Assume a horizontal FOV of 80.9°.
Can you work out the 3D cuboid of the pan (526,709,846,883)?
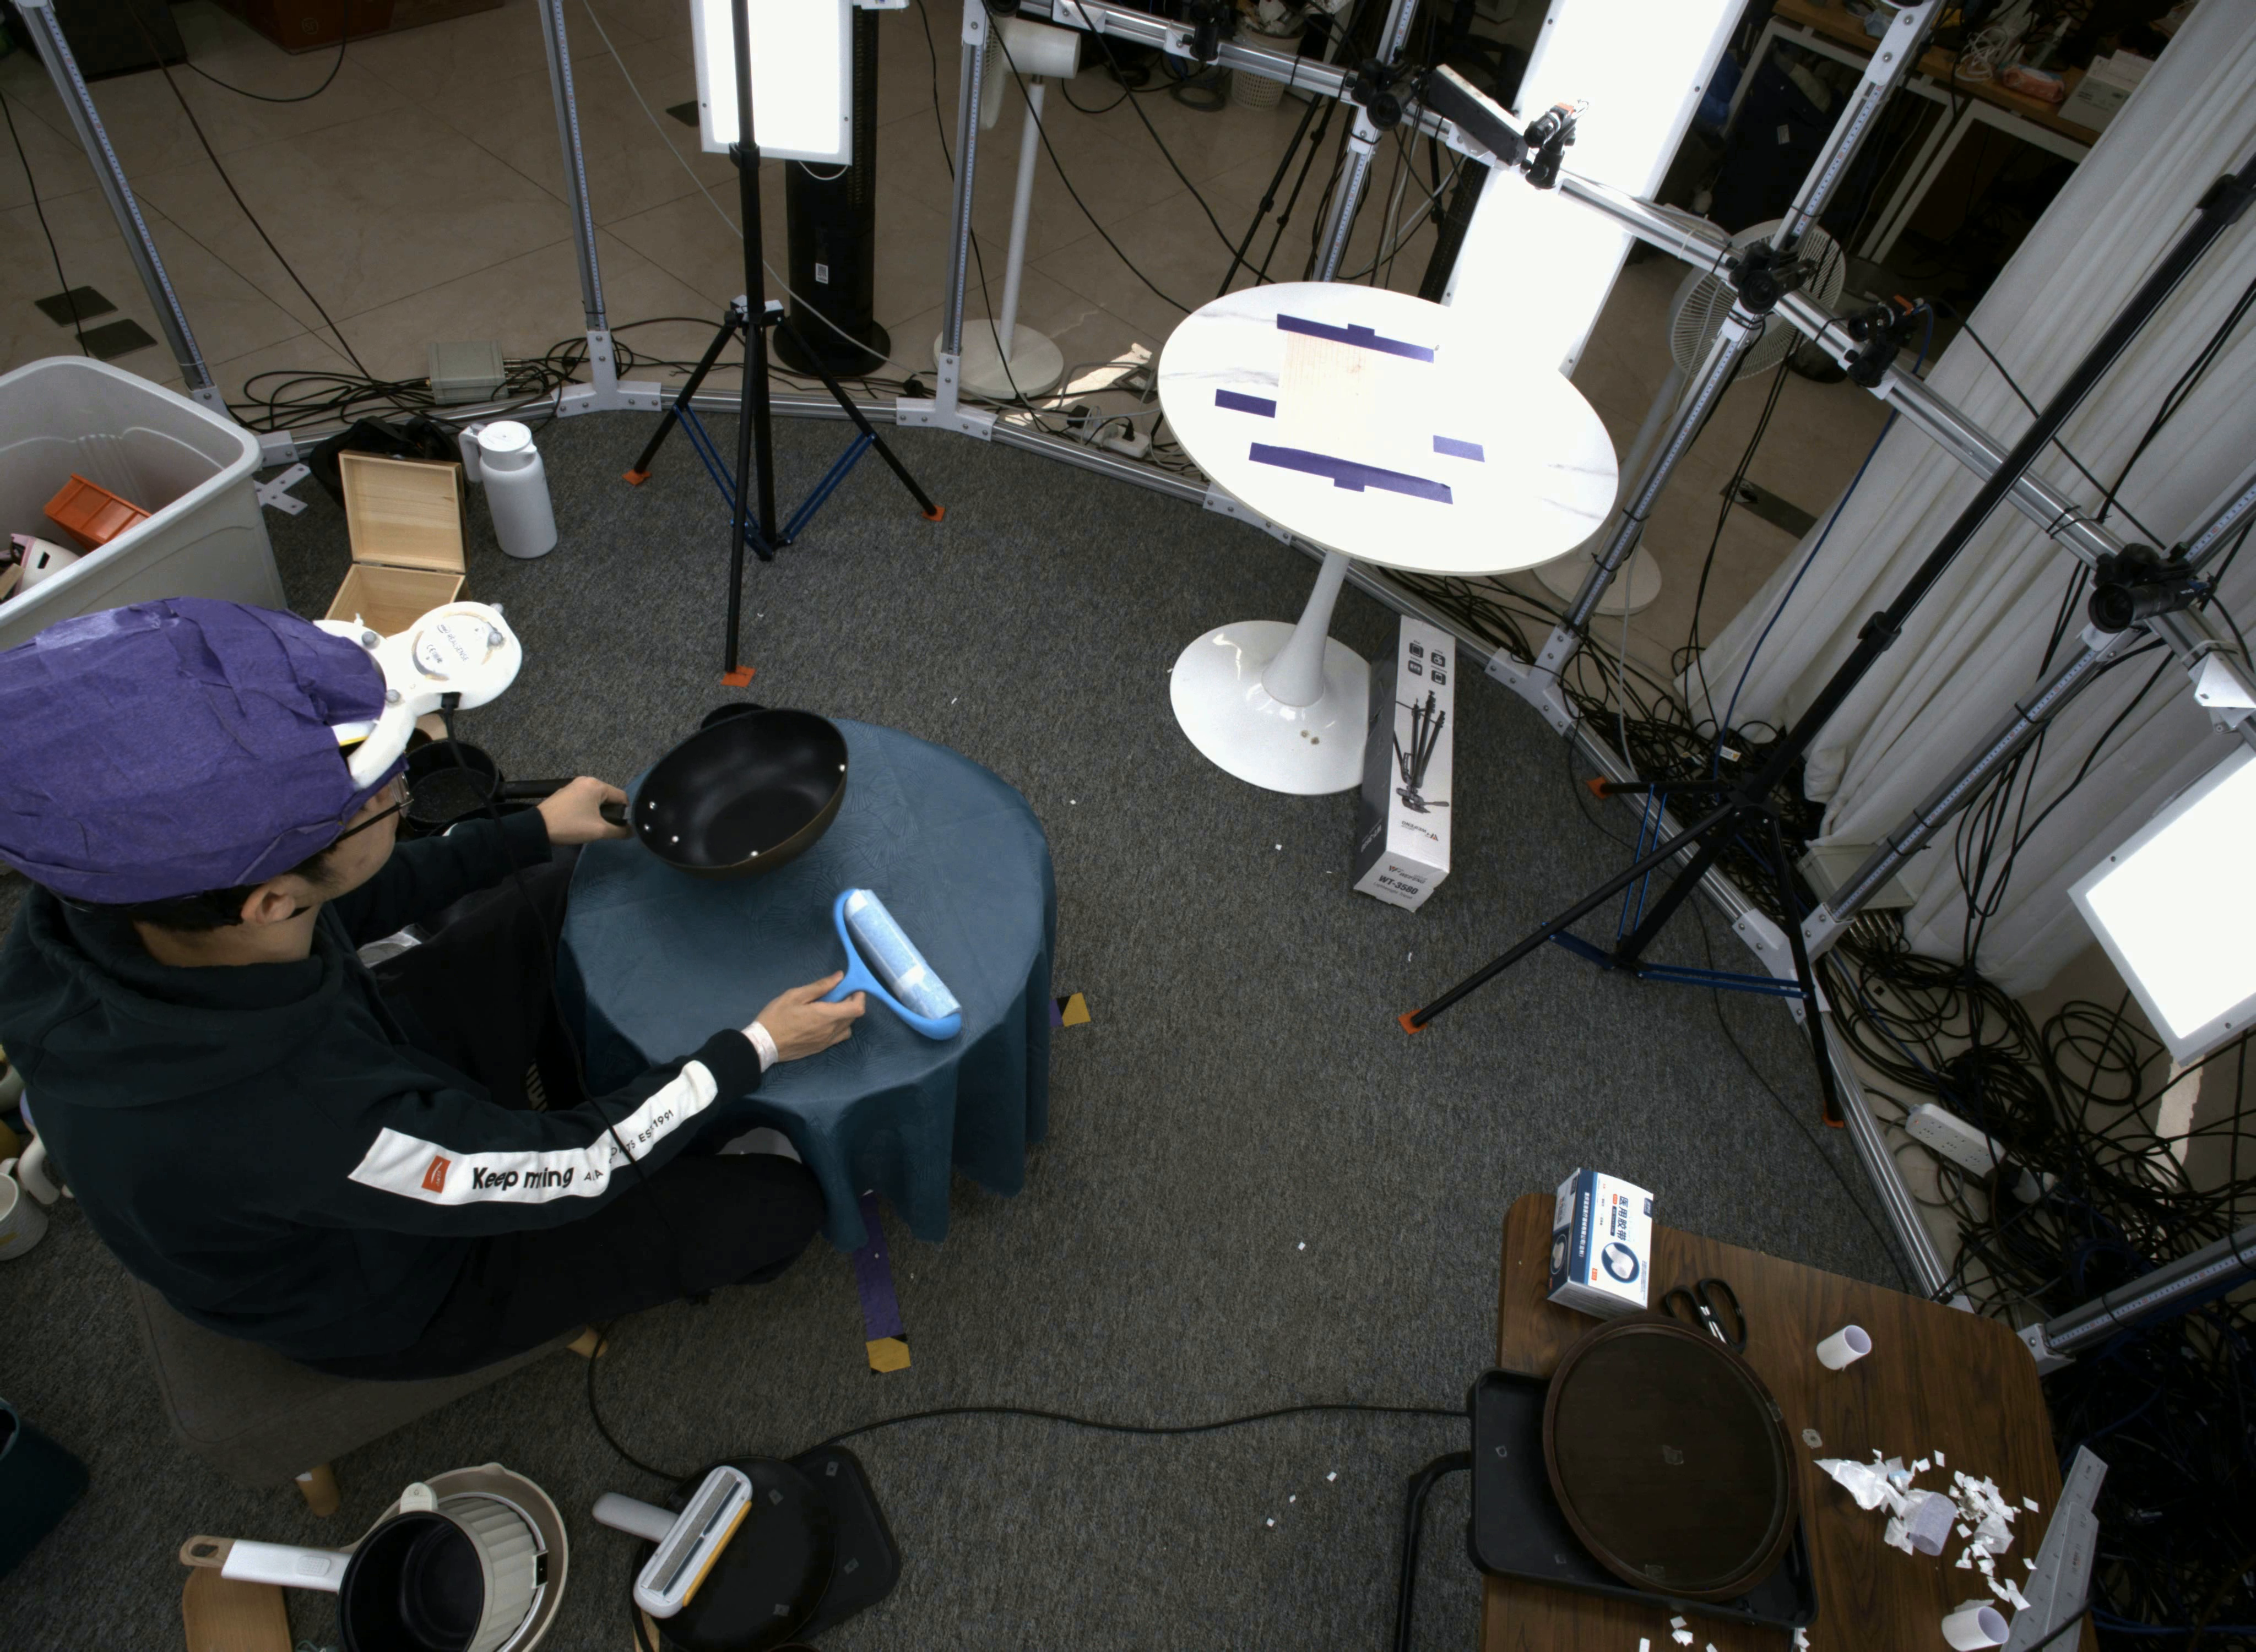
[{"bbox_3d":[-0.561,-0.008,1.617,0.458,0.090,0.281,-12,44,2],"label":"pan"}]

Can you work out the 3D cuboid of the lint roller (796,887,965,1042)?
[{"bbox_3d":[-0.321,0.193,1.567,0.180,0.068,0.226,-37,79,-29],"label":"lint roller"}]
